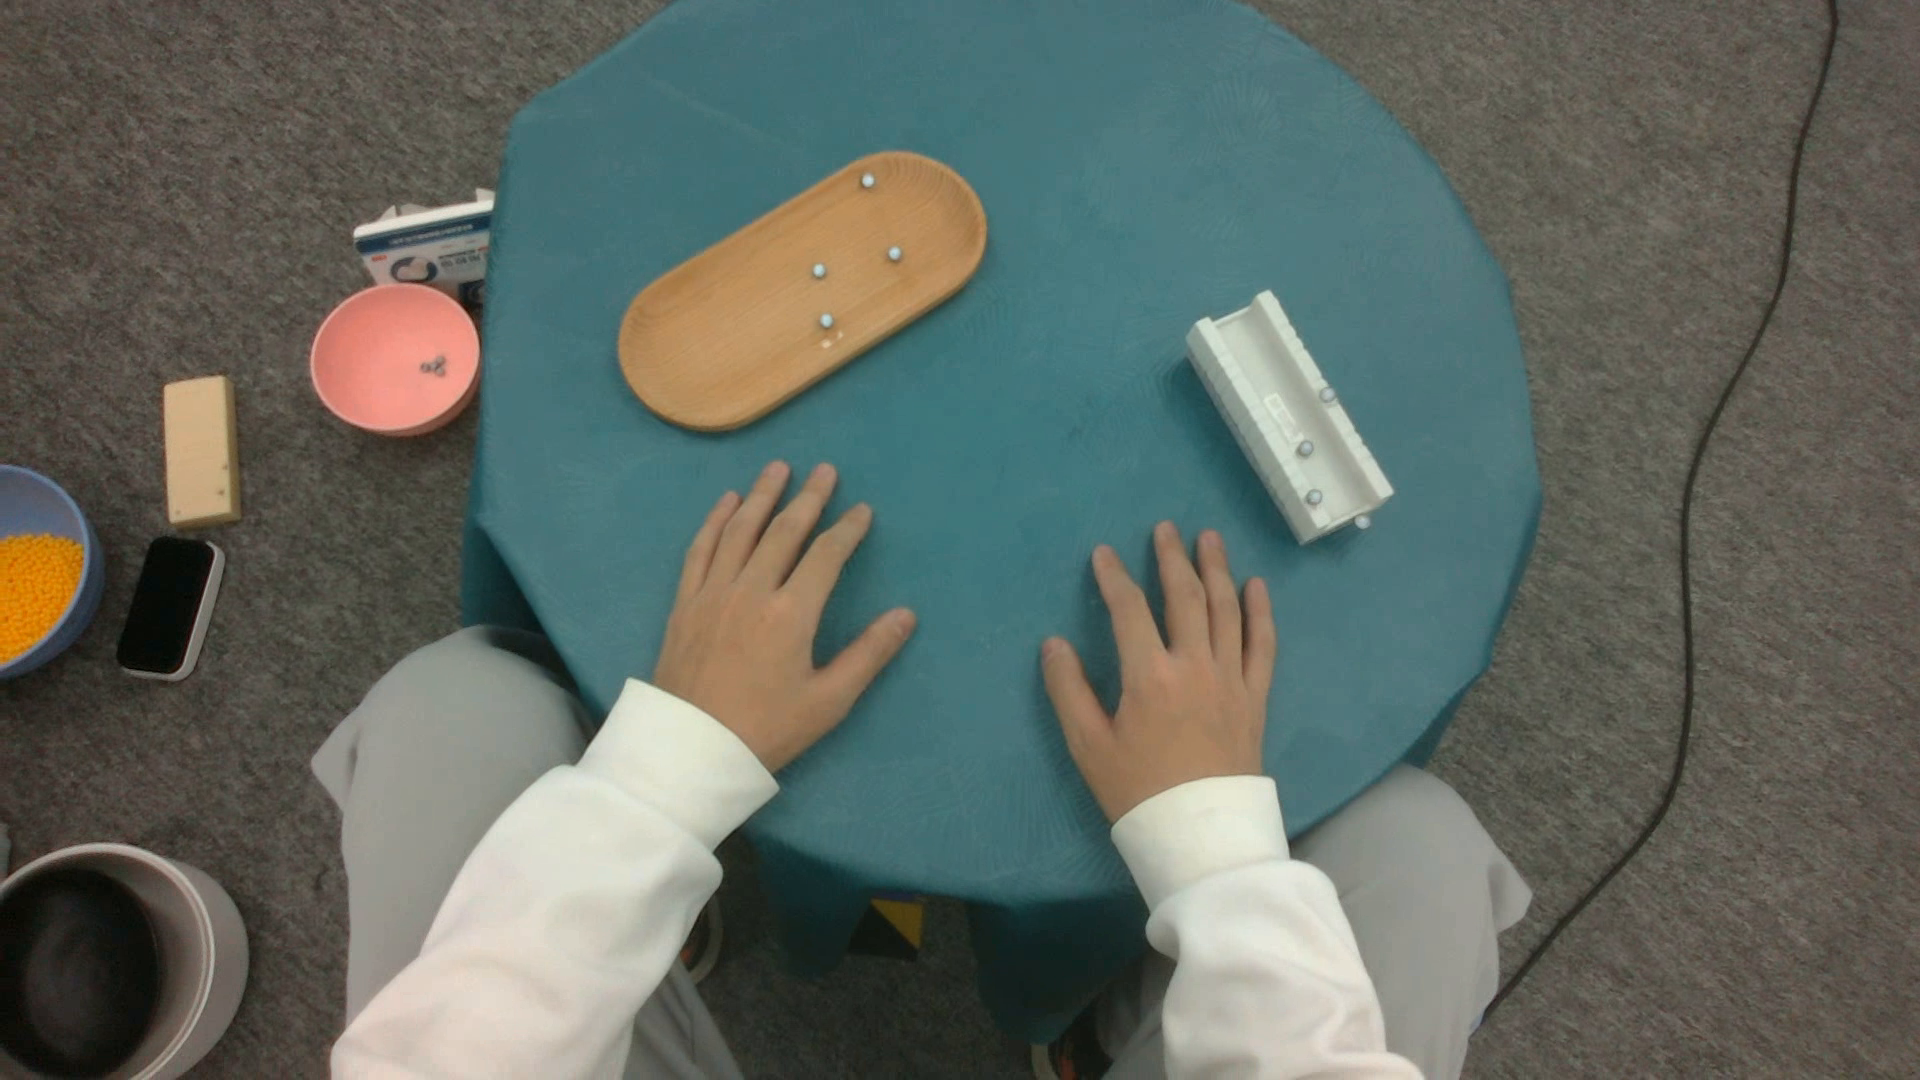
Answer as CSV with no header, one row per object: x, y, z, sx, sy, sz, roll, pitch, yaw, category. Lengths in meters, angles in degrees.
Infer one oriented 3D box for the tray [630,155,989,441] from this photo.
-0.085,-0.142,0.799,0.231,0.020,0.102,-37,76,-12,tray

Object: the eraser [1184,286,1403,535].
0.184,-0.072,0.773,0.050,0.046,0.134,-31,76,-7,eraser
